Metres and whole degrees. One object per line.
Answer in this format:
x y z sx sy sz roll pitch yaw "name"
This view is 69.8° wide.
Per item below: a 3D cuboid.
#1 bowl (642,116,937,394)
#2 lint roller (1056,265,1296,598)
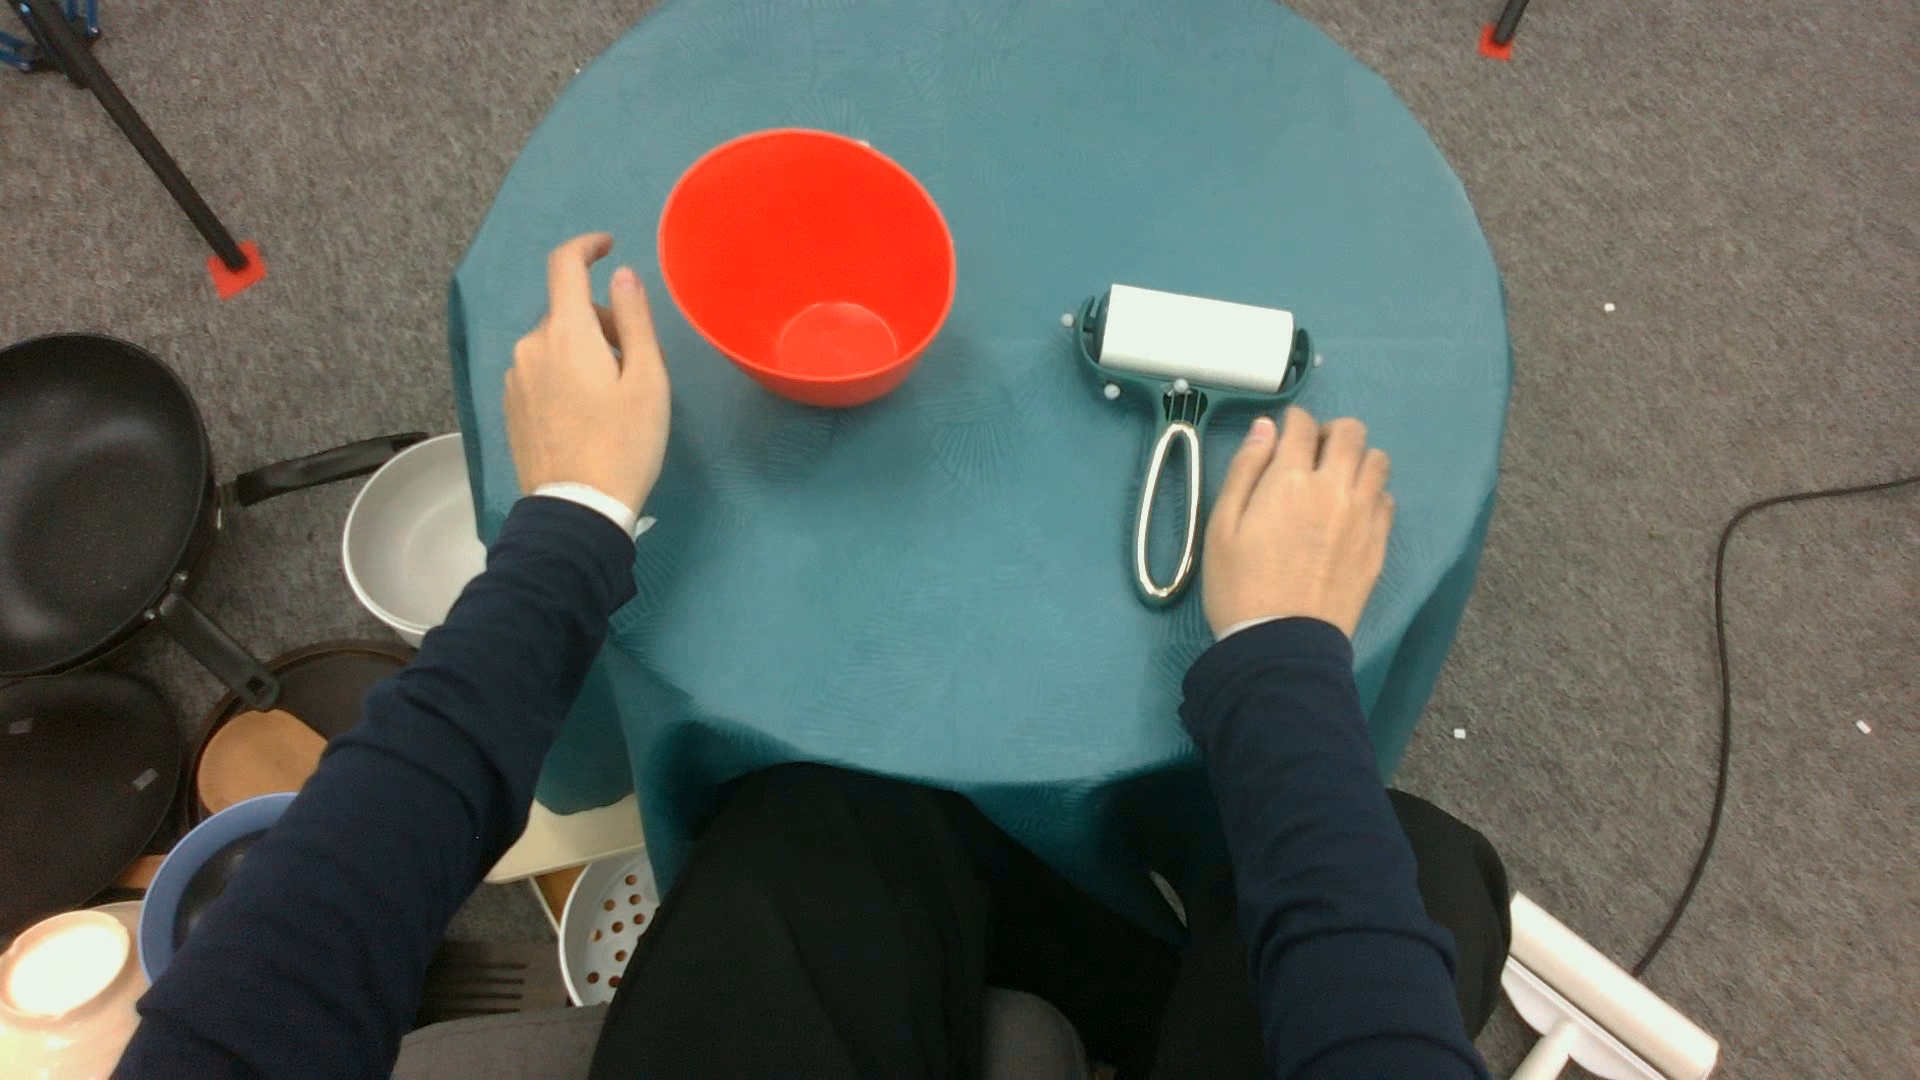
-0.086 -0.136 0.733 0.148 0.104 0.148 1 67 -3 "bowl"
0.109 -0.060 0.739 0.134 0.048 0.181 9 67 1 "lint roller"
